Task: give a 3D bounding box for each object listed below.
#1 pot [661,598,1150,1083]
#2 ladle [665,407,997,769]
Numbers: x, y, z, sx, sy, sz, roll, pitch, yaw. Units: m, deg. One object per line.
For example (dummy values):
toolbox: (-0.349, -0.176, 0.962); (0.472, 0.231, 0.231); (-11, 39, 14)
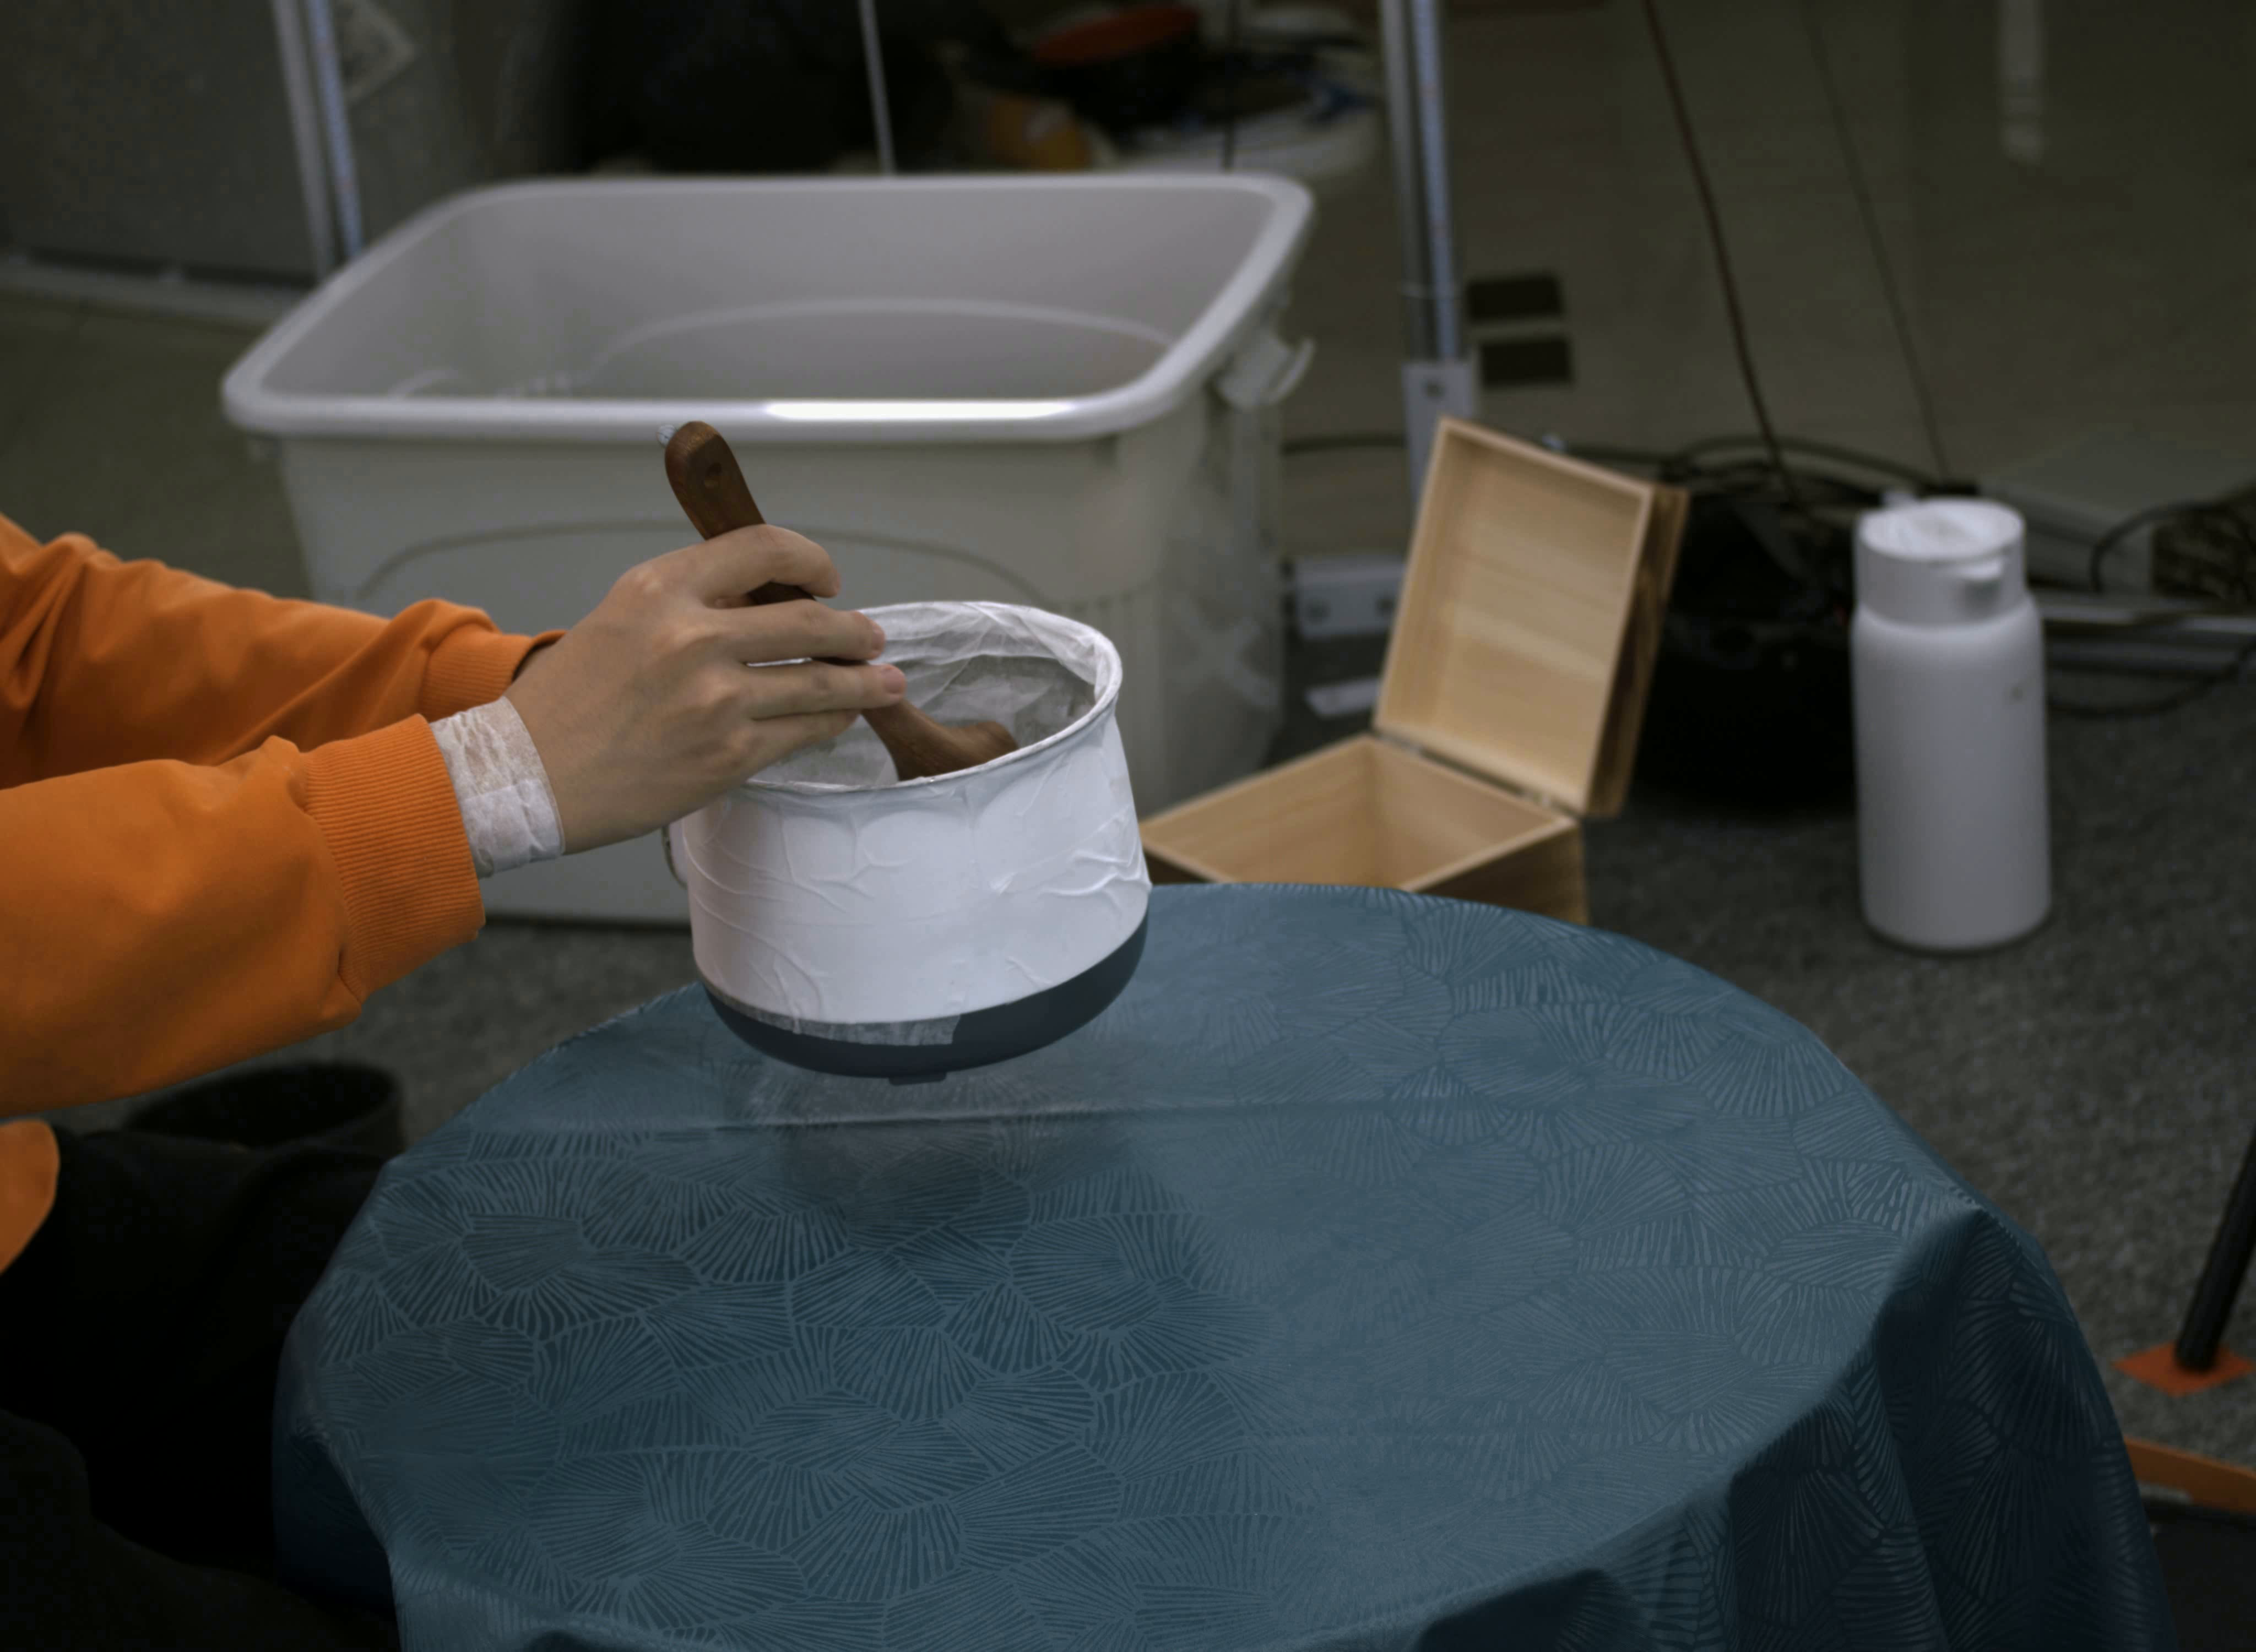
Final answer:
pot: (-0.102, -0.001, 2.185); (0.177, 0.139, 0.232); (-27, 32, -37)
ladle: (-0.120, -0.070, 2.095); (0.064, 0.264, 0.076); (16, 63, 40)
